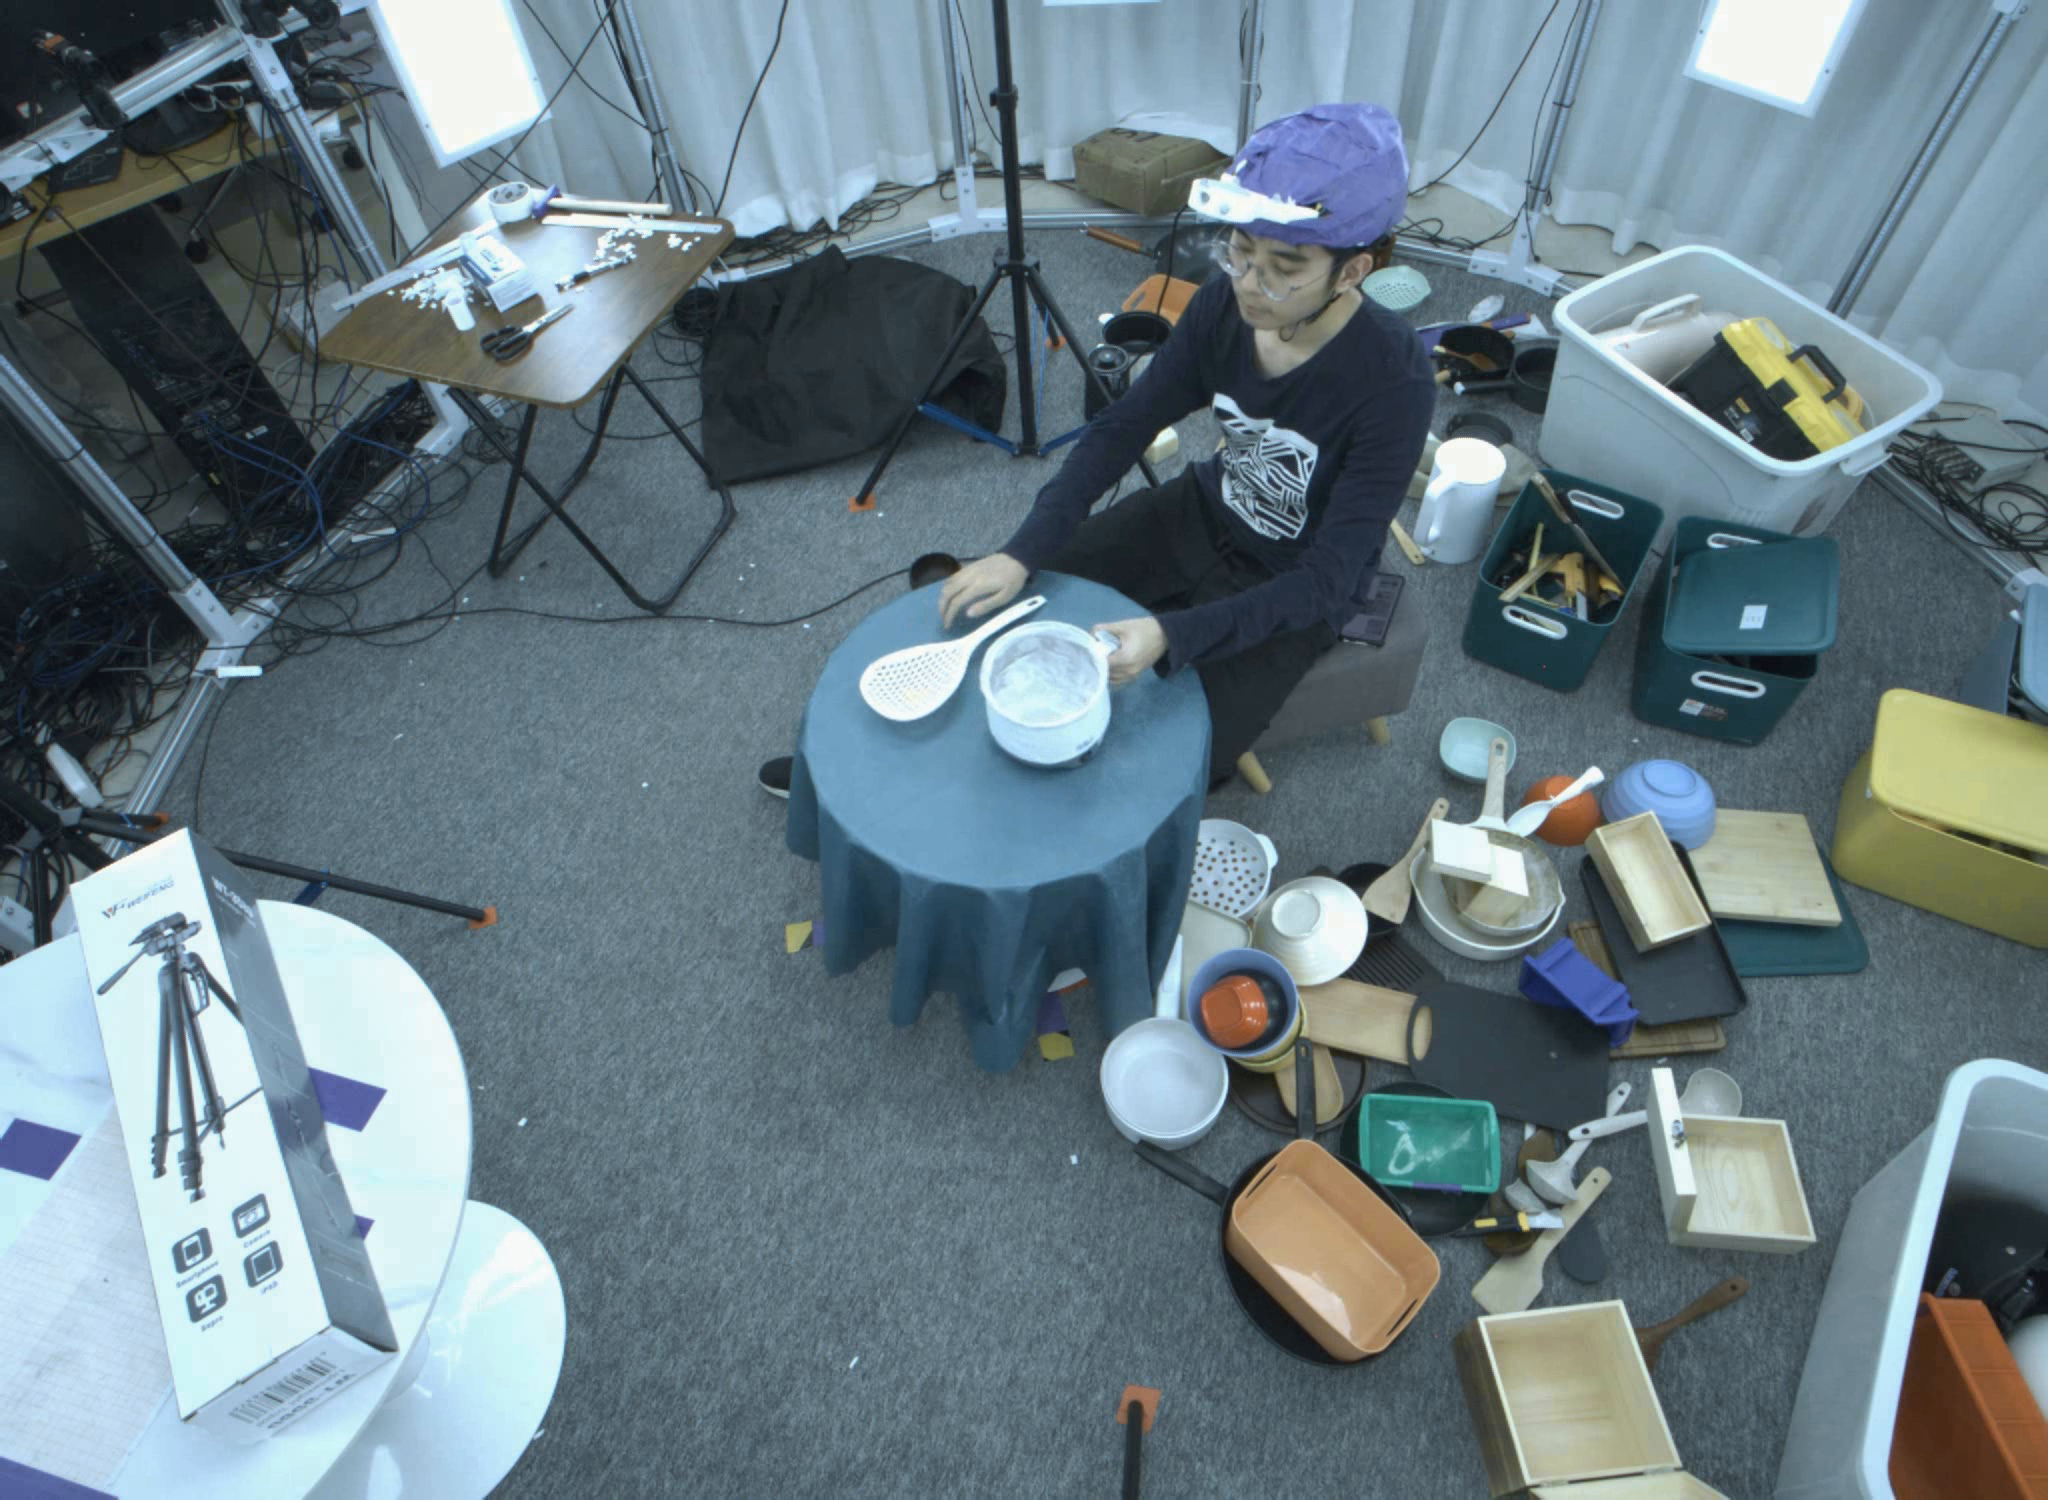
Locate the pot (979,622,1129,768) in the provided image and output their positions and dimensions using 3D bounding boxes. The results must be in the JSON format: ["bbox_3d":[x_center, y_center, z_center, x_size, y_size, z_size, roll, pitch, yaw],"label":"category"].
[{"bbox_3d":[0.052,-0.089,1.761,0.235,0.138,0.176,-36,66,-16],"label":"pot"}]

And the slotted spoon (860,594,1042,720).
[{"bbox_3d":[-0.095,-0.153,1.880,0.350,0.051,0.134,-40,61,-23],"label":"slotted spoon"}]
